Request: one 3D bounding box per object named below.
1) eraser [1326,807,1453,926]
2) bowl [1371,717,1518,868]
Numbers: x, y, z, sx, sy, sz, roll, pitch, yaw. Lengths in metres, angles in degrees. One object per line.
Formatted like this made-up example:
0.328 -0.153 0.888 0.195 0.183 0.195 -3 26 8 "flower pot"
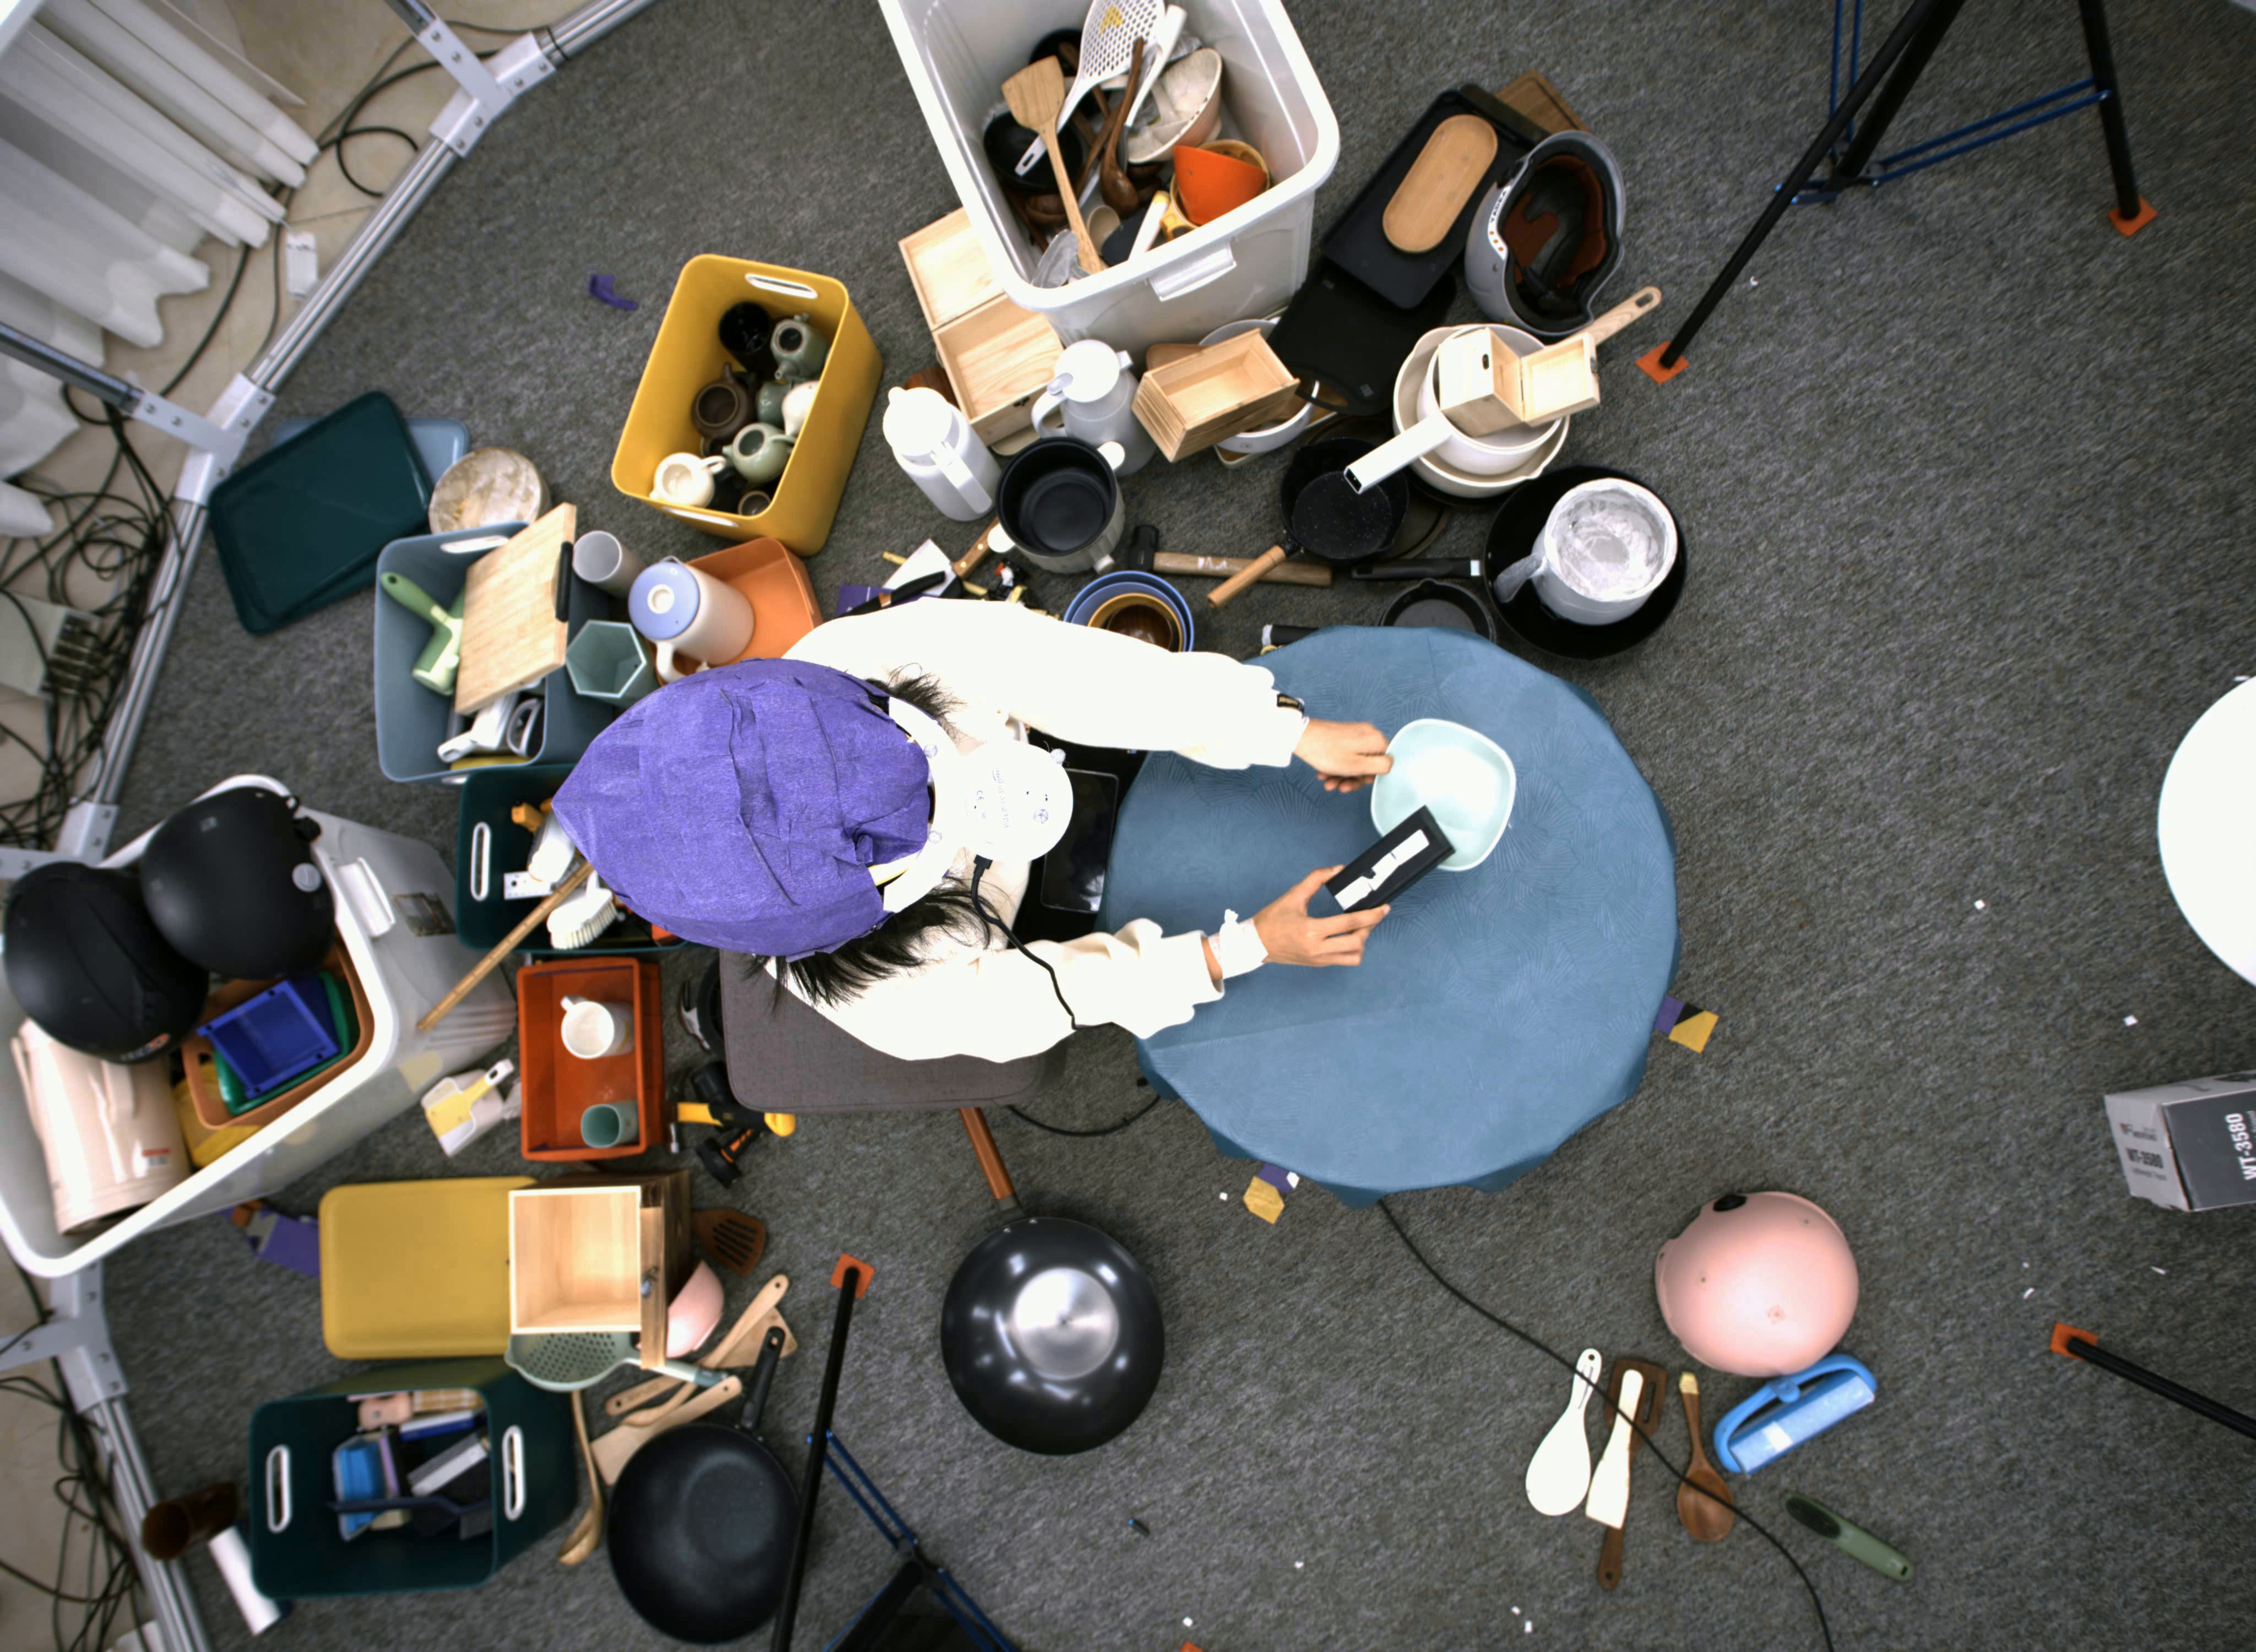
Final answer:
0.255 0.038 1.346 0.128 0.030 0.053 -44 70 28 "eraser"
0.316 -0.036 1.343 0.152 0.058 0.152 4 99 32 "bowl"
